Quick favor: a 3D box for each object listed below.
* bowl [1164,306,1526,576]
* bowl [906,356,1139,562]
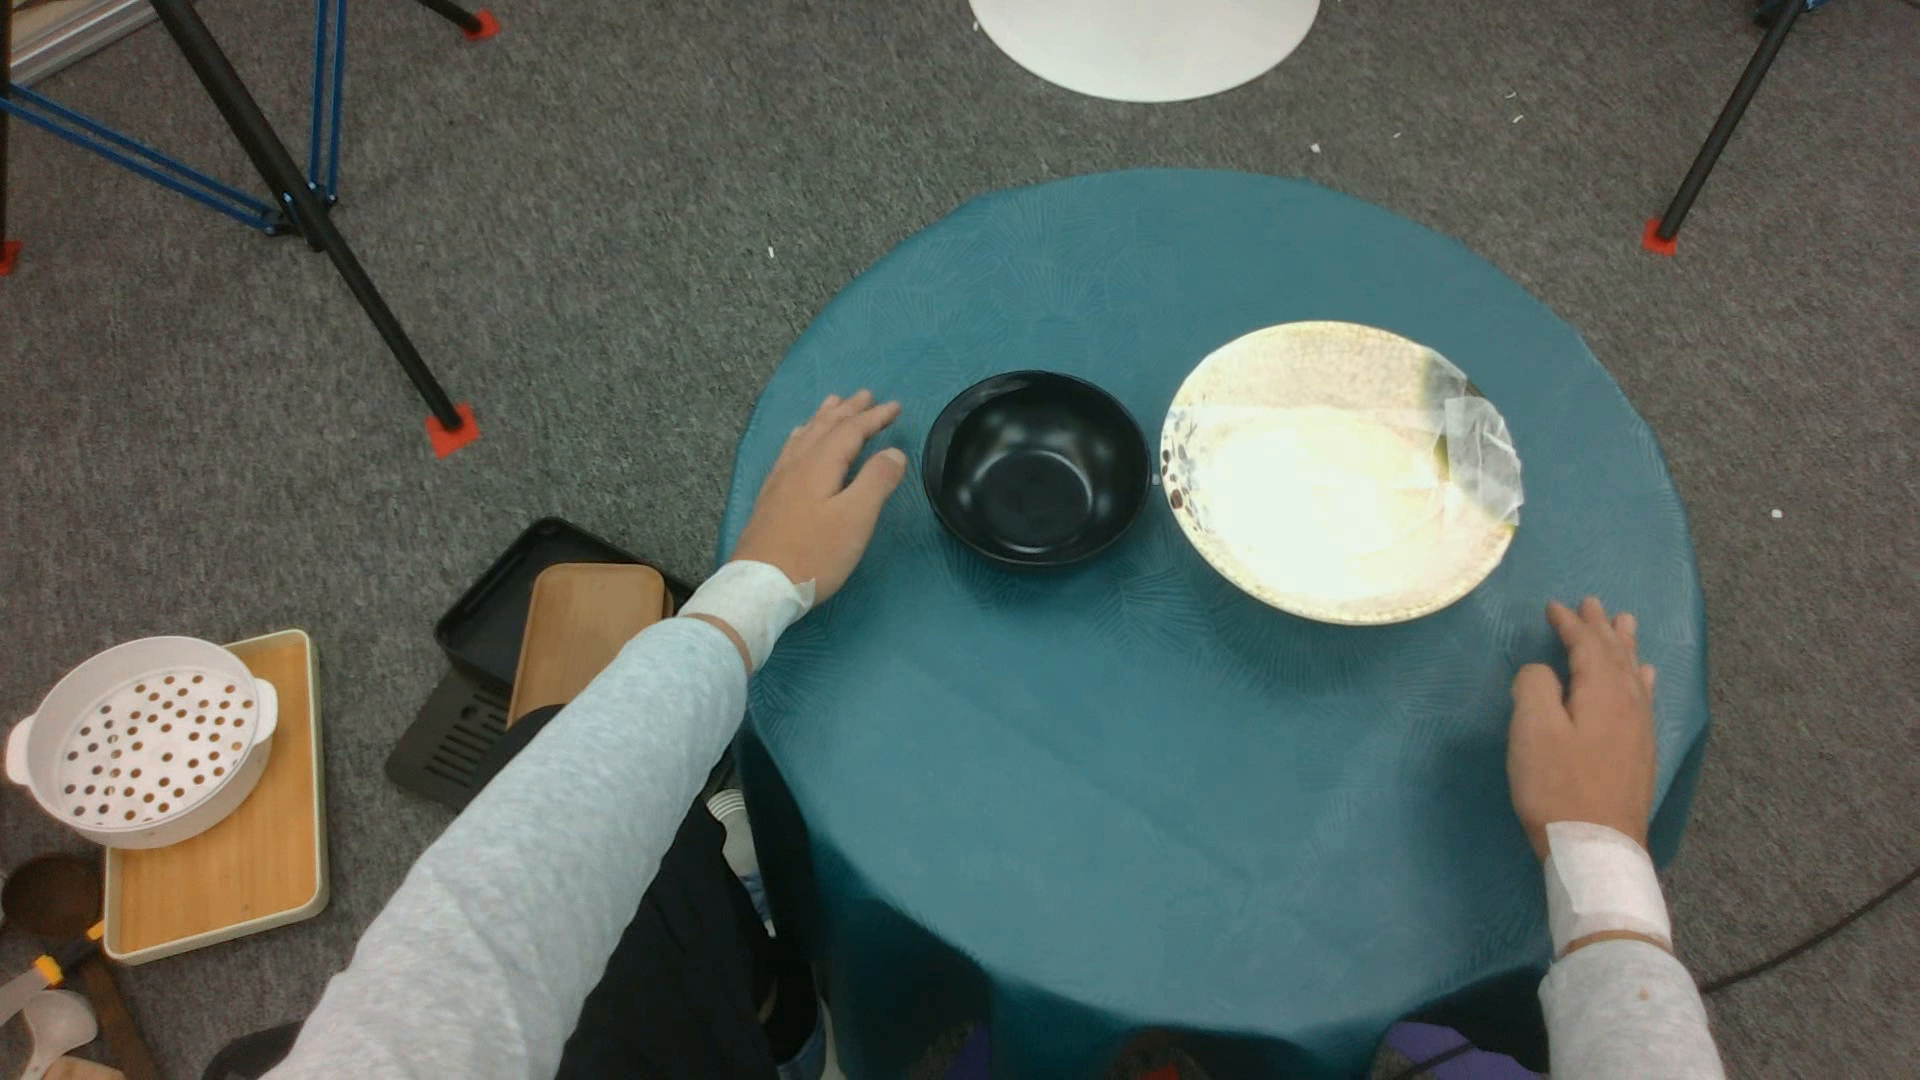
[{"bbox_3d":[0.218,-0.042,0.812,0.204,0.077,0.205,0,53,0],"label":"bowl"},{"bbox_3d":[0.038,-0.042,0.841,0.140,0.049,0.140,-1,61,2],"label":"bowl"}]
